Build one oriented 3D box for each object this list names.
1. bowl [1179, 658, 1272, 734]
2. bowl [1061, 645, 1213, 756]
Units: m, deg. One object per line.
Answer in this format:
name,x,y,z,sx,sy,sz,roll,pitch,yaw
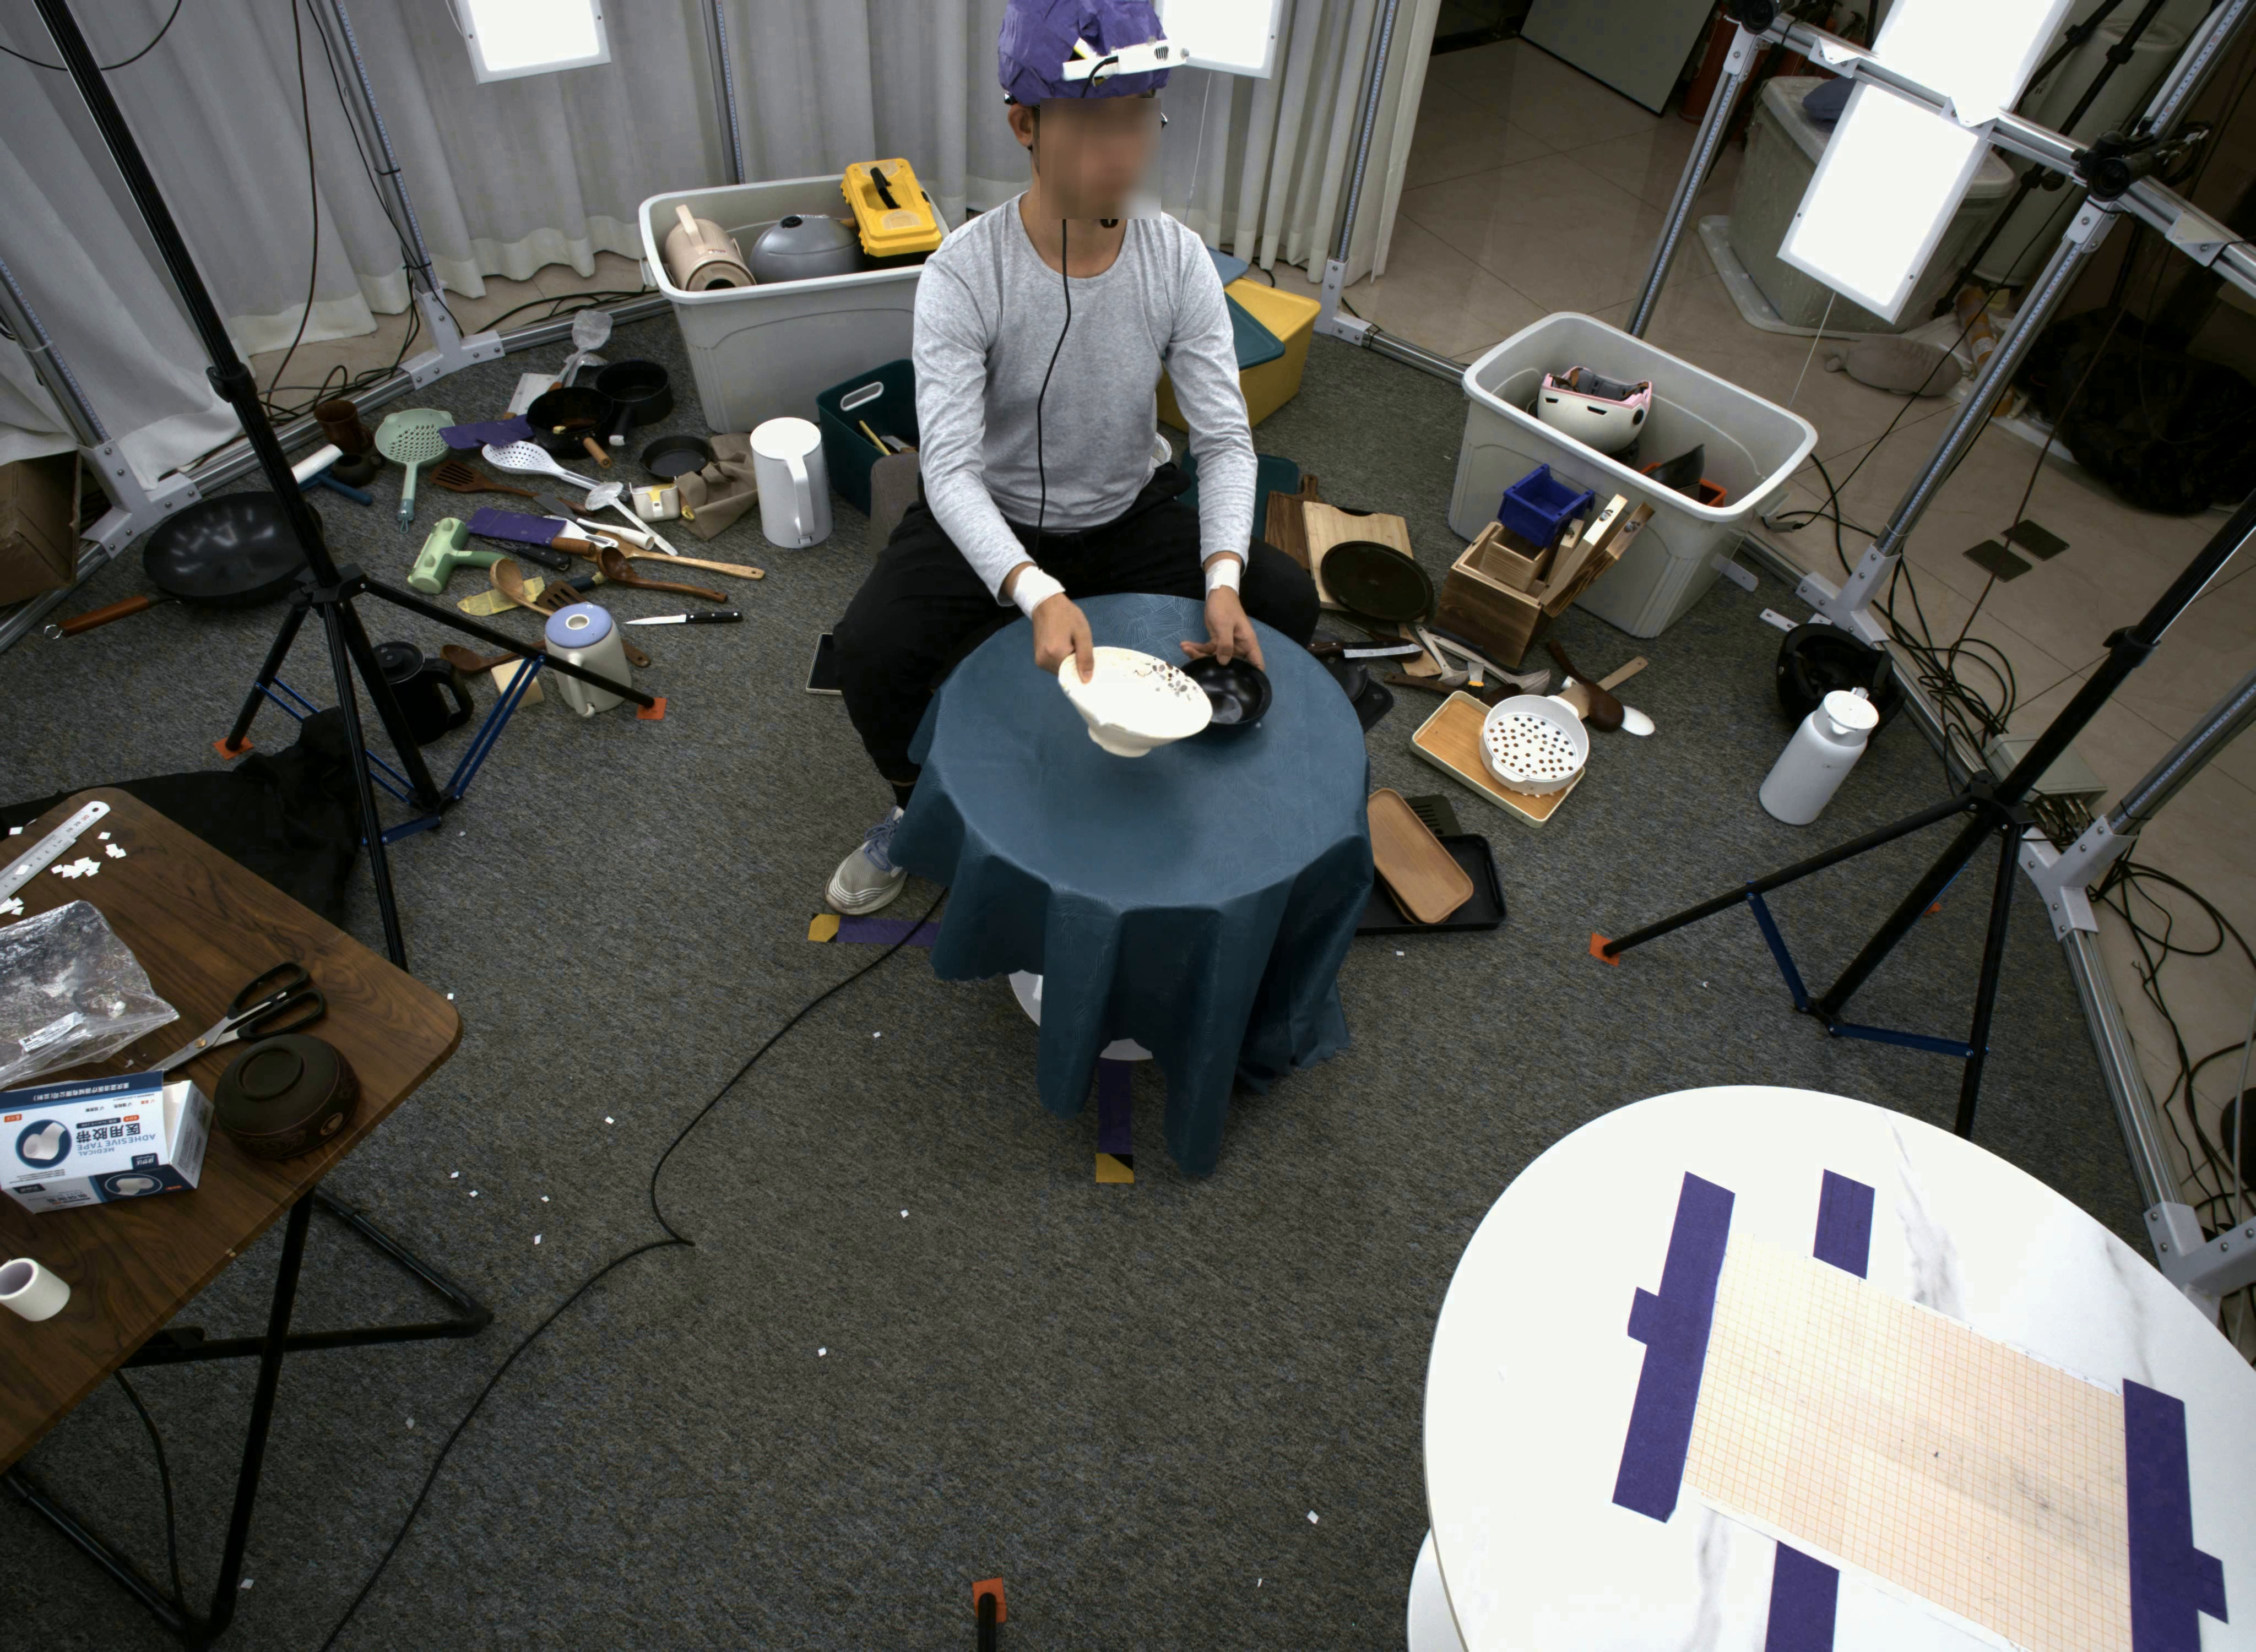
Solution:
bowl,0.130,-0.174,1.798,0.140,0.048,0.143,3,44,-3
bowl,0.002,-0.146,1.645,0.203,0.076,0.209,15,33,-10
